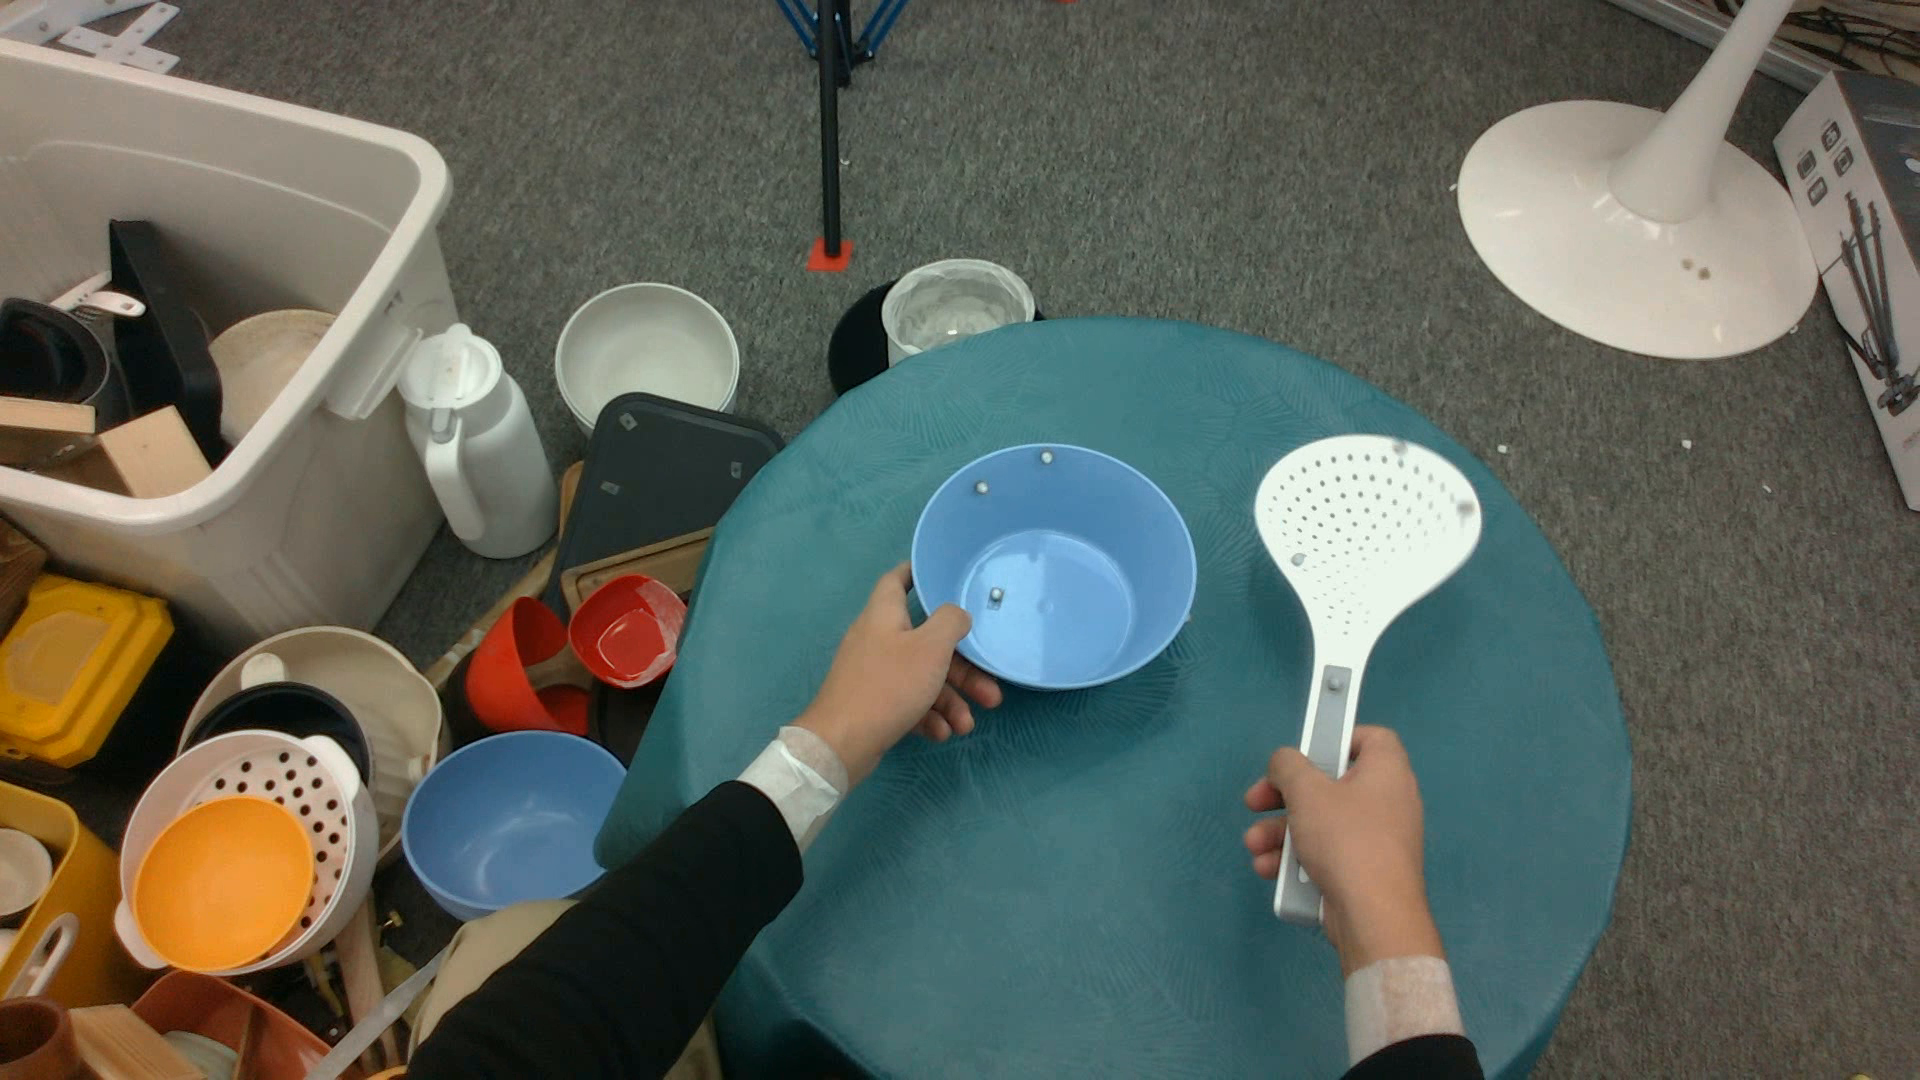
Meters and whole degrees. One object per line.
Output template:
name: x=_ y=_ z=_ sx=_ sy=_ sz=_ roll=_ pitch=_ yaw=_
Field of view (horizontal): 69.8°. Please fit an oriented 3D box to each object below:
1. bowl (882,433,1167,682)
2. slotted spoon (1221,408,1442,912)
bowl: x=0.038 y=0.022 z=0.869 sx=0.176 sy=0.070 sz=0.177 roll=2 pitch=59 yaw=-3
slotted spoon: x=0.207 y=0.054 z=0.811 sx=0.136 sy=0.045 sz=0.351 roll=1 pitch=46 yaw=22
